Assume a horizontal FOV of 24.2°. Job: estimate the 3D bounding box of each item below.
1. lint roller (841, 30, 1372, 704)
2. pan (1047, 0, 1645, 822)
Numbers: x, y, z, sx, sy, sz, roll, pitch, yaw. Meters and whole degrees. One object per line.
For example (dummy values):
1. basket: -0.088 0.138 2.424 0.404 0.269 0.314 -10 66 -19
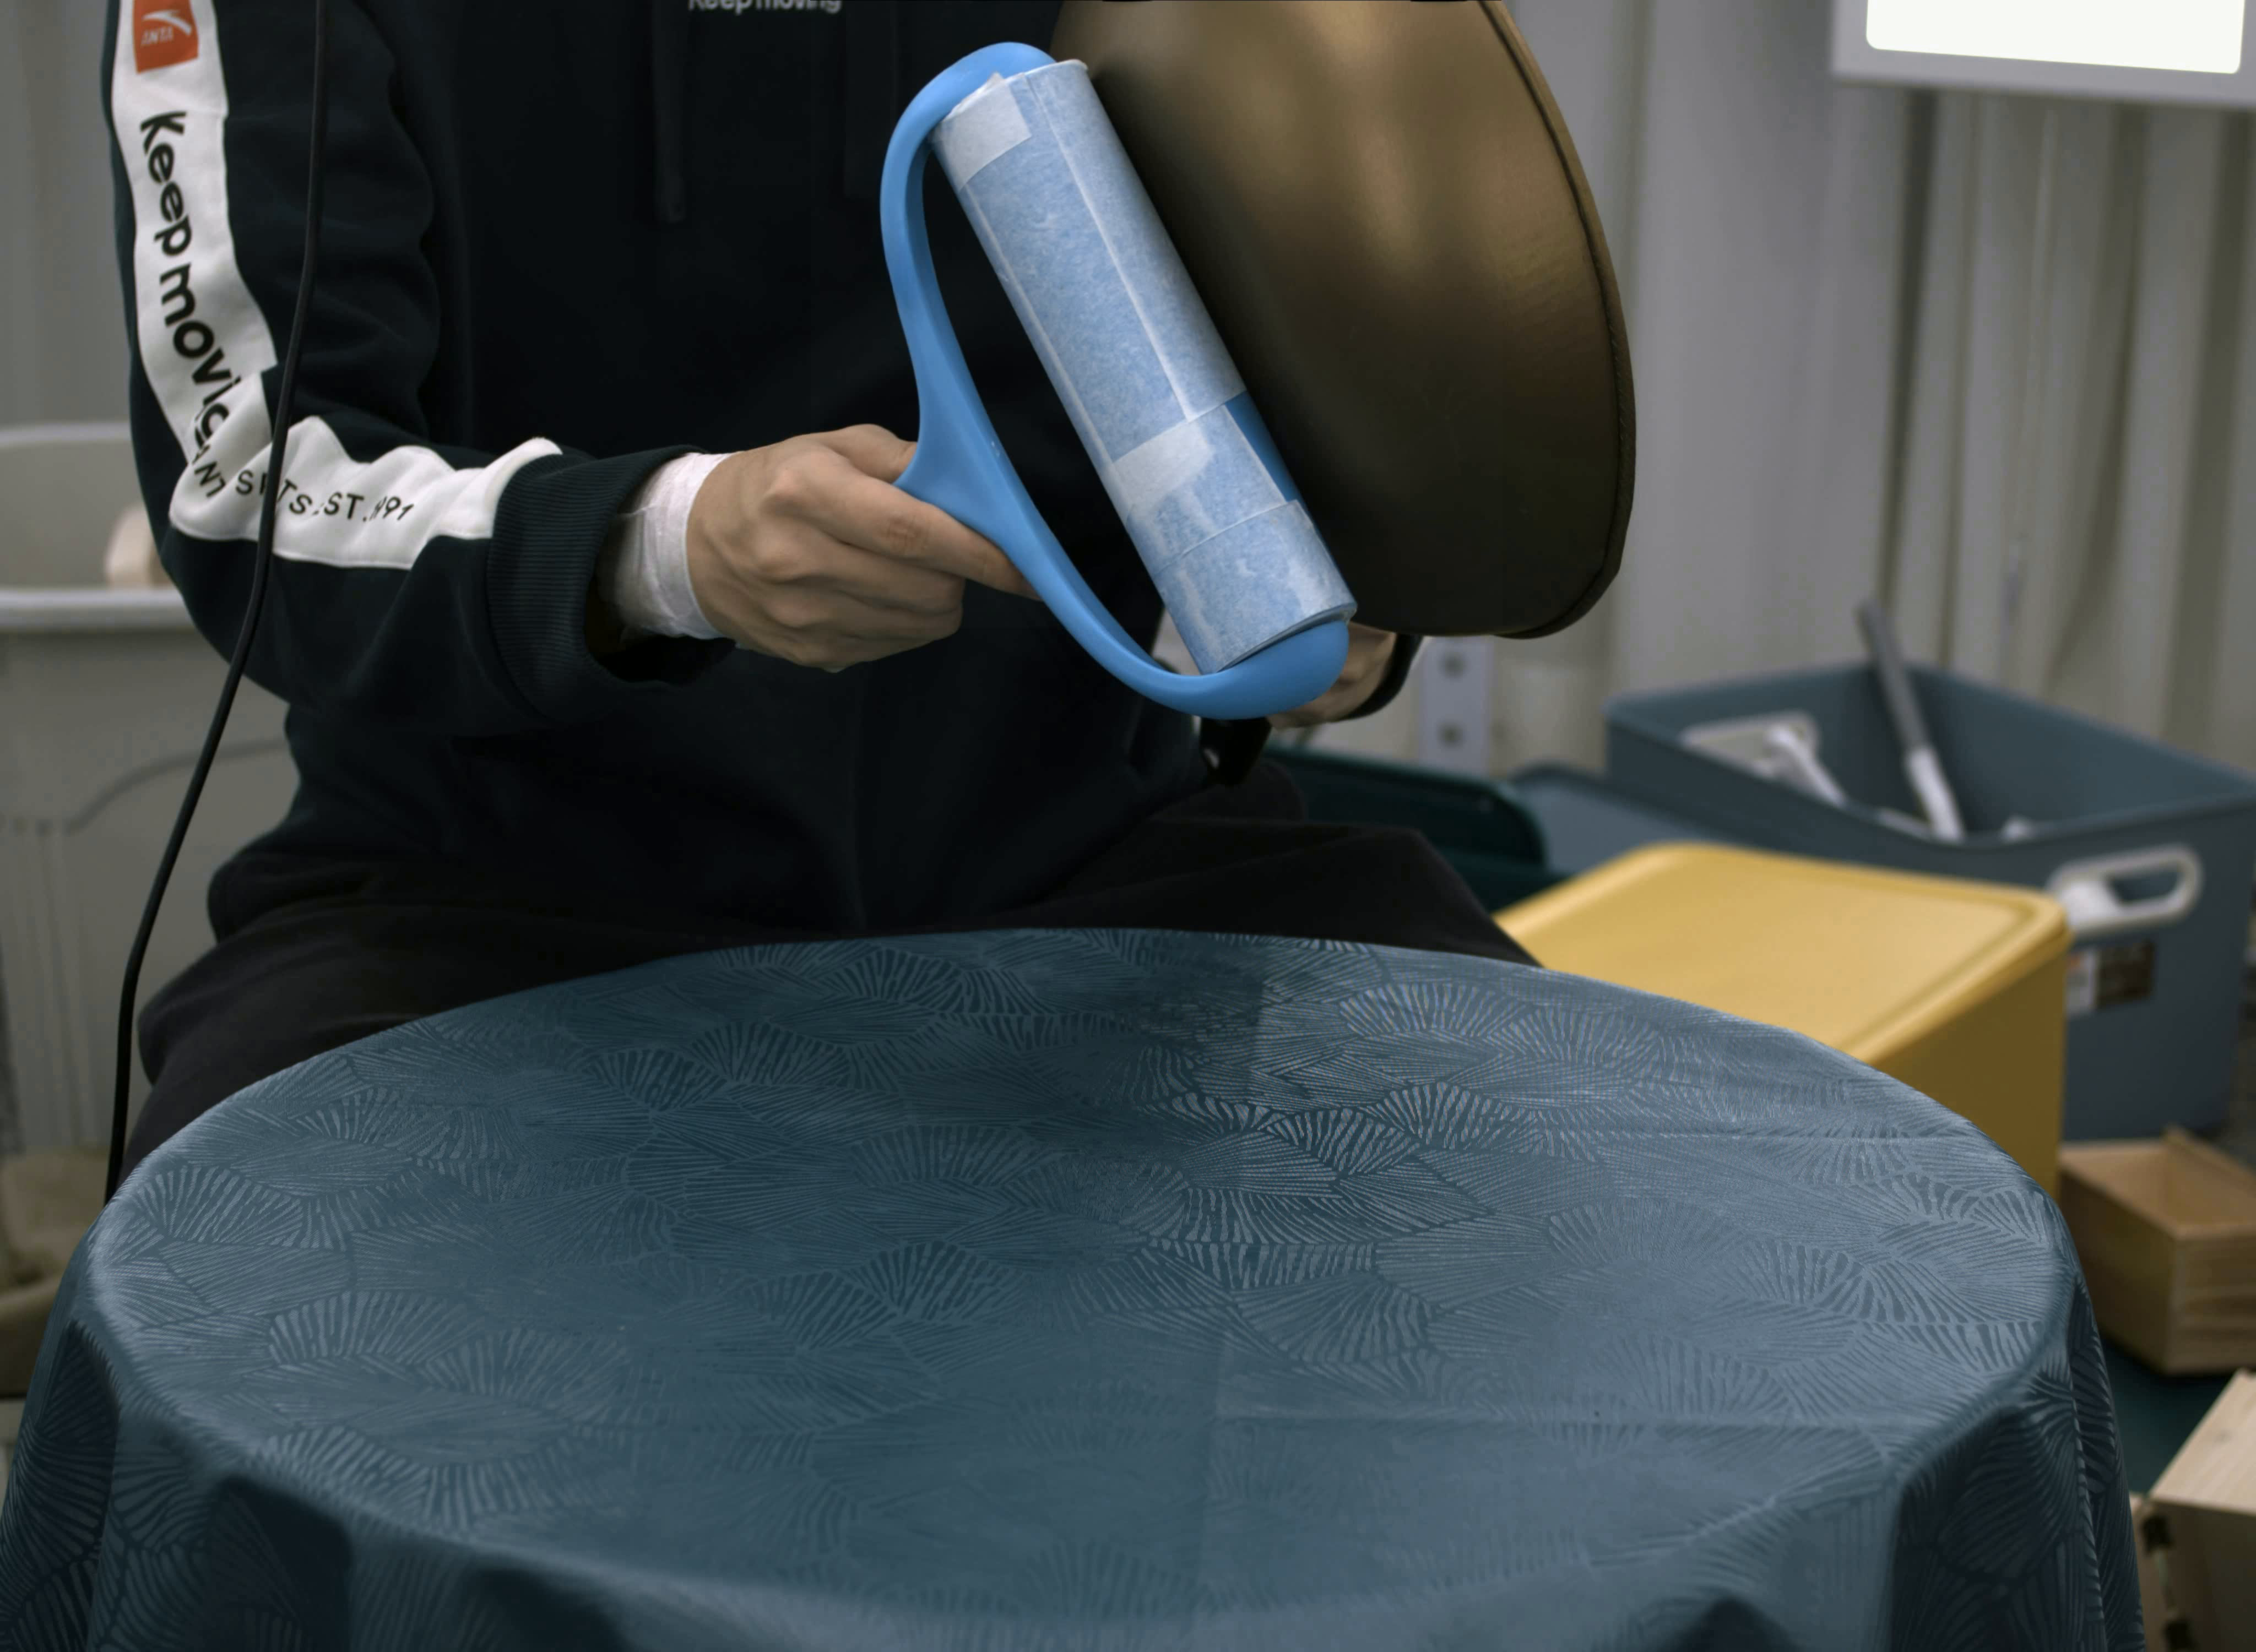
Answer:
1. lint roller: -0.036 -0.113 1.646 0.180 0.228 0.068 -35 -9 29
2. pan: 0.037 -0.130 1.744 0.087 0.467 0.285 -24 65 -23
